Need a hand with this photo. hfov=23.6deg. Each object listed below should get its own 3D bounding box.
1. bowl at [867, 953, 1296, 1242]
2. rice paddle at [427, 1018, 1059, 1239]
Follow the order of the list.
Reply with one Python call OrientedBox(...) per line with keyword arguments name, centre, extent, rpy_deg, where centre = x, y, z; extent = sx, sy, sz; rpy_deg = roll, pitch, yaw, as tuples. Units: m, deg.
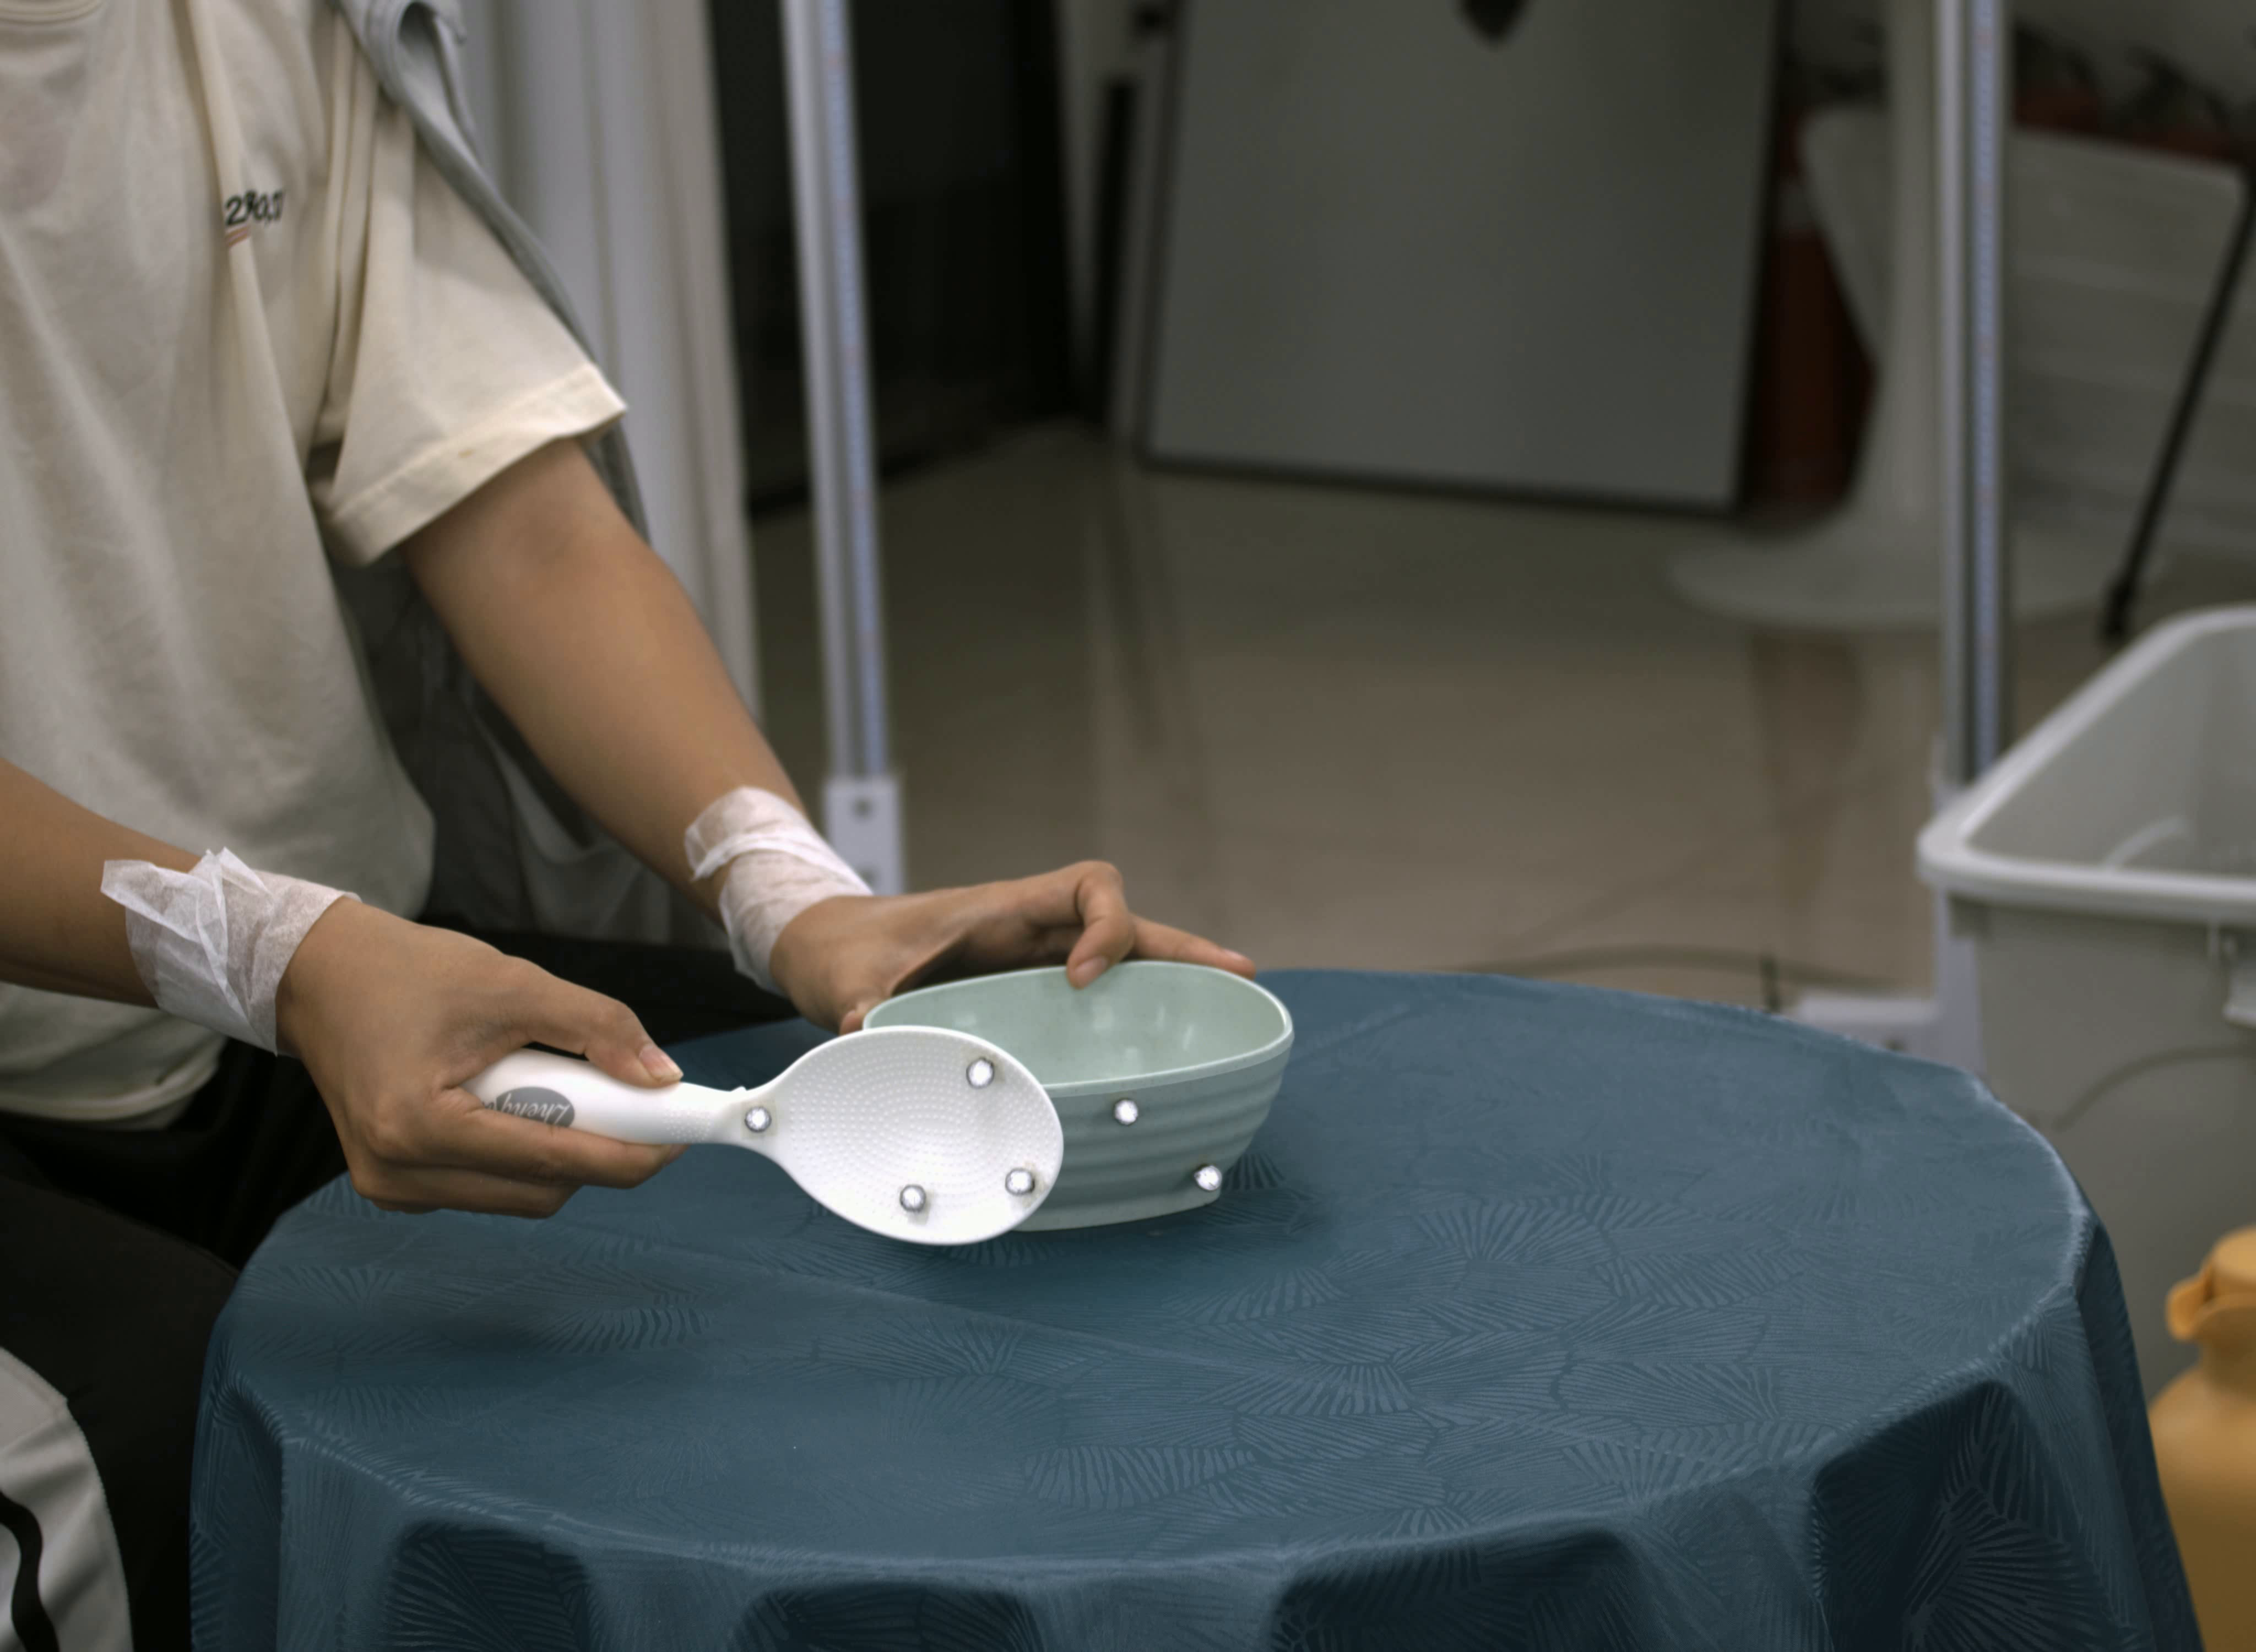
OrientedBox(name="bowl", centre=(-0.014, 0.093, 1.775), extent=(0.149, 0.059, 0.152), rpy_deg=(-4, 17, 0))
OrientedBox(name="rice paddle", centre=(-0.116, 0.088, 1.646), extent=(0.205, 0.069, 0.029), rpy_deg=(3, 15, 21))
